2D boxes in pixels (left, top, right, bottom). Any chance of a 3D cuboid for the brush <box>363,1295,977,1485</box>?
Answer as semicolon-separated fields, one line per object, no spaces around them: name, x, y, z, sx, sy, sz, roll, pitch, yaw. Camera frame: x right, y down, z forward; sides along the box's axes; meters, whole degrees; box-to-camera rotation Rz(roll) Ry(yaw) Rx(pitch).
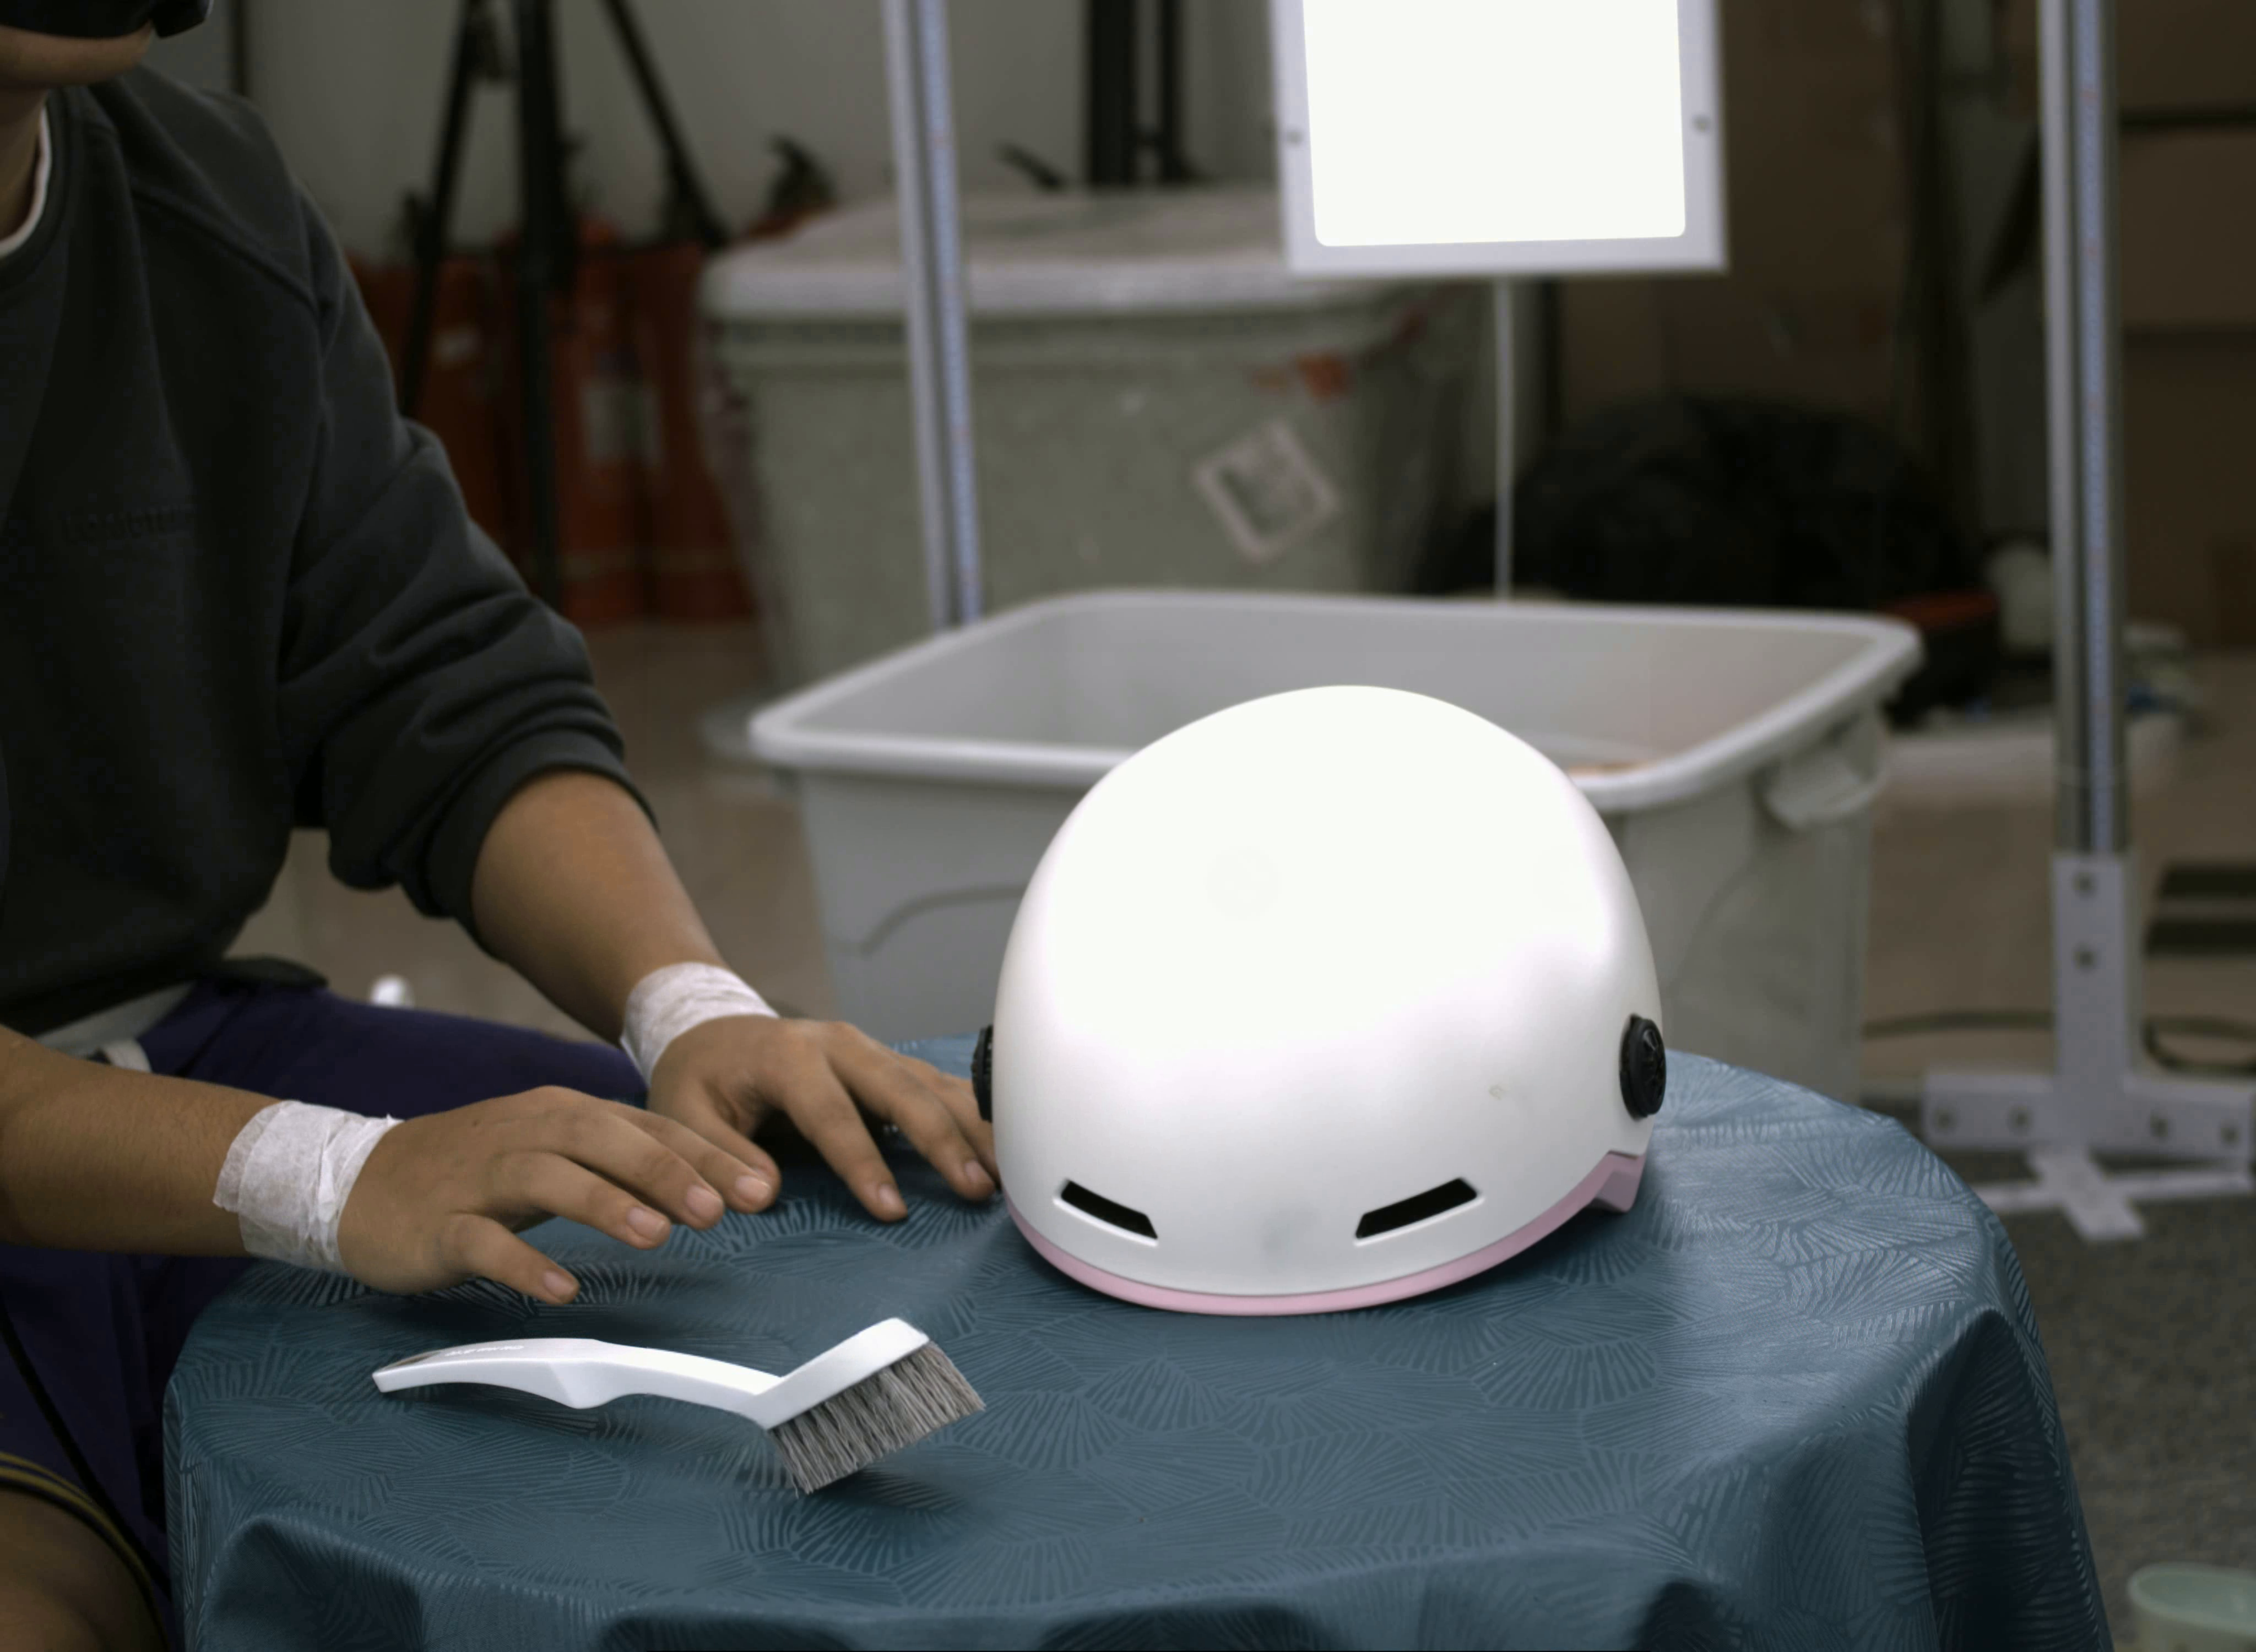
brush;-0.144;0.179;1.687;0.249;0.050;0.033;-11;7;41

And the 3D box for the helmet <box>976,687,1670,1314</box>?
helmet;0.067;0.045;1.860;0.239;0.167;0.265;-1;15;16
